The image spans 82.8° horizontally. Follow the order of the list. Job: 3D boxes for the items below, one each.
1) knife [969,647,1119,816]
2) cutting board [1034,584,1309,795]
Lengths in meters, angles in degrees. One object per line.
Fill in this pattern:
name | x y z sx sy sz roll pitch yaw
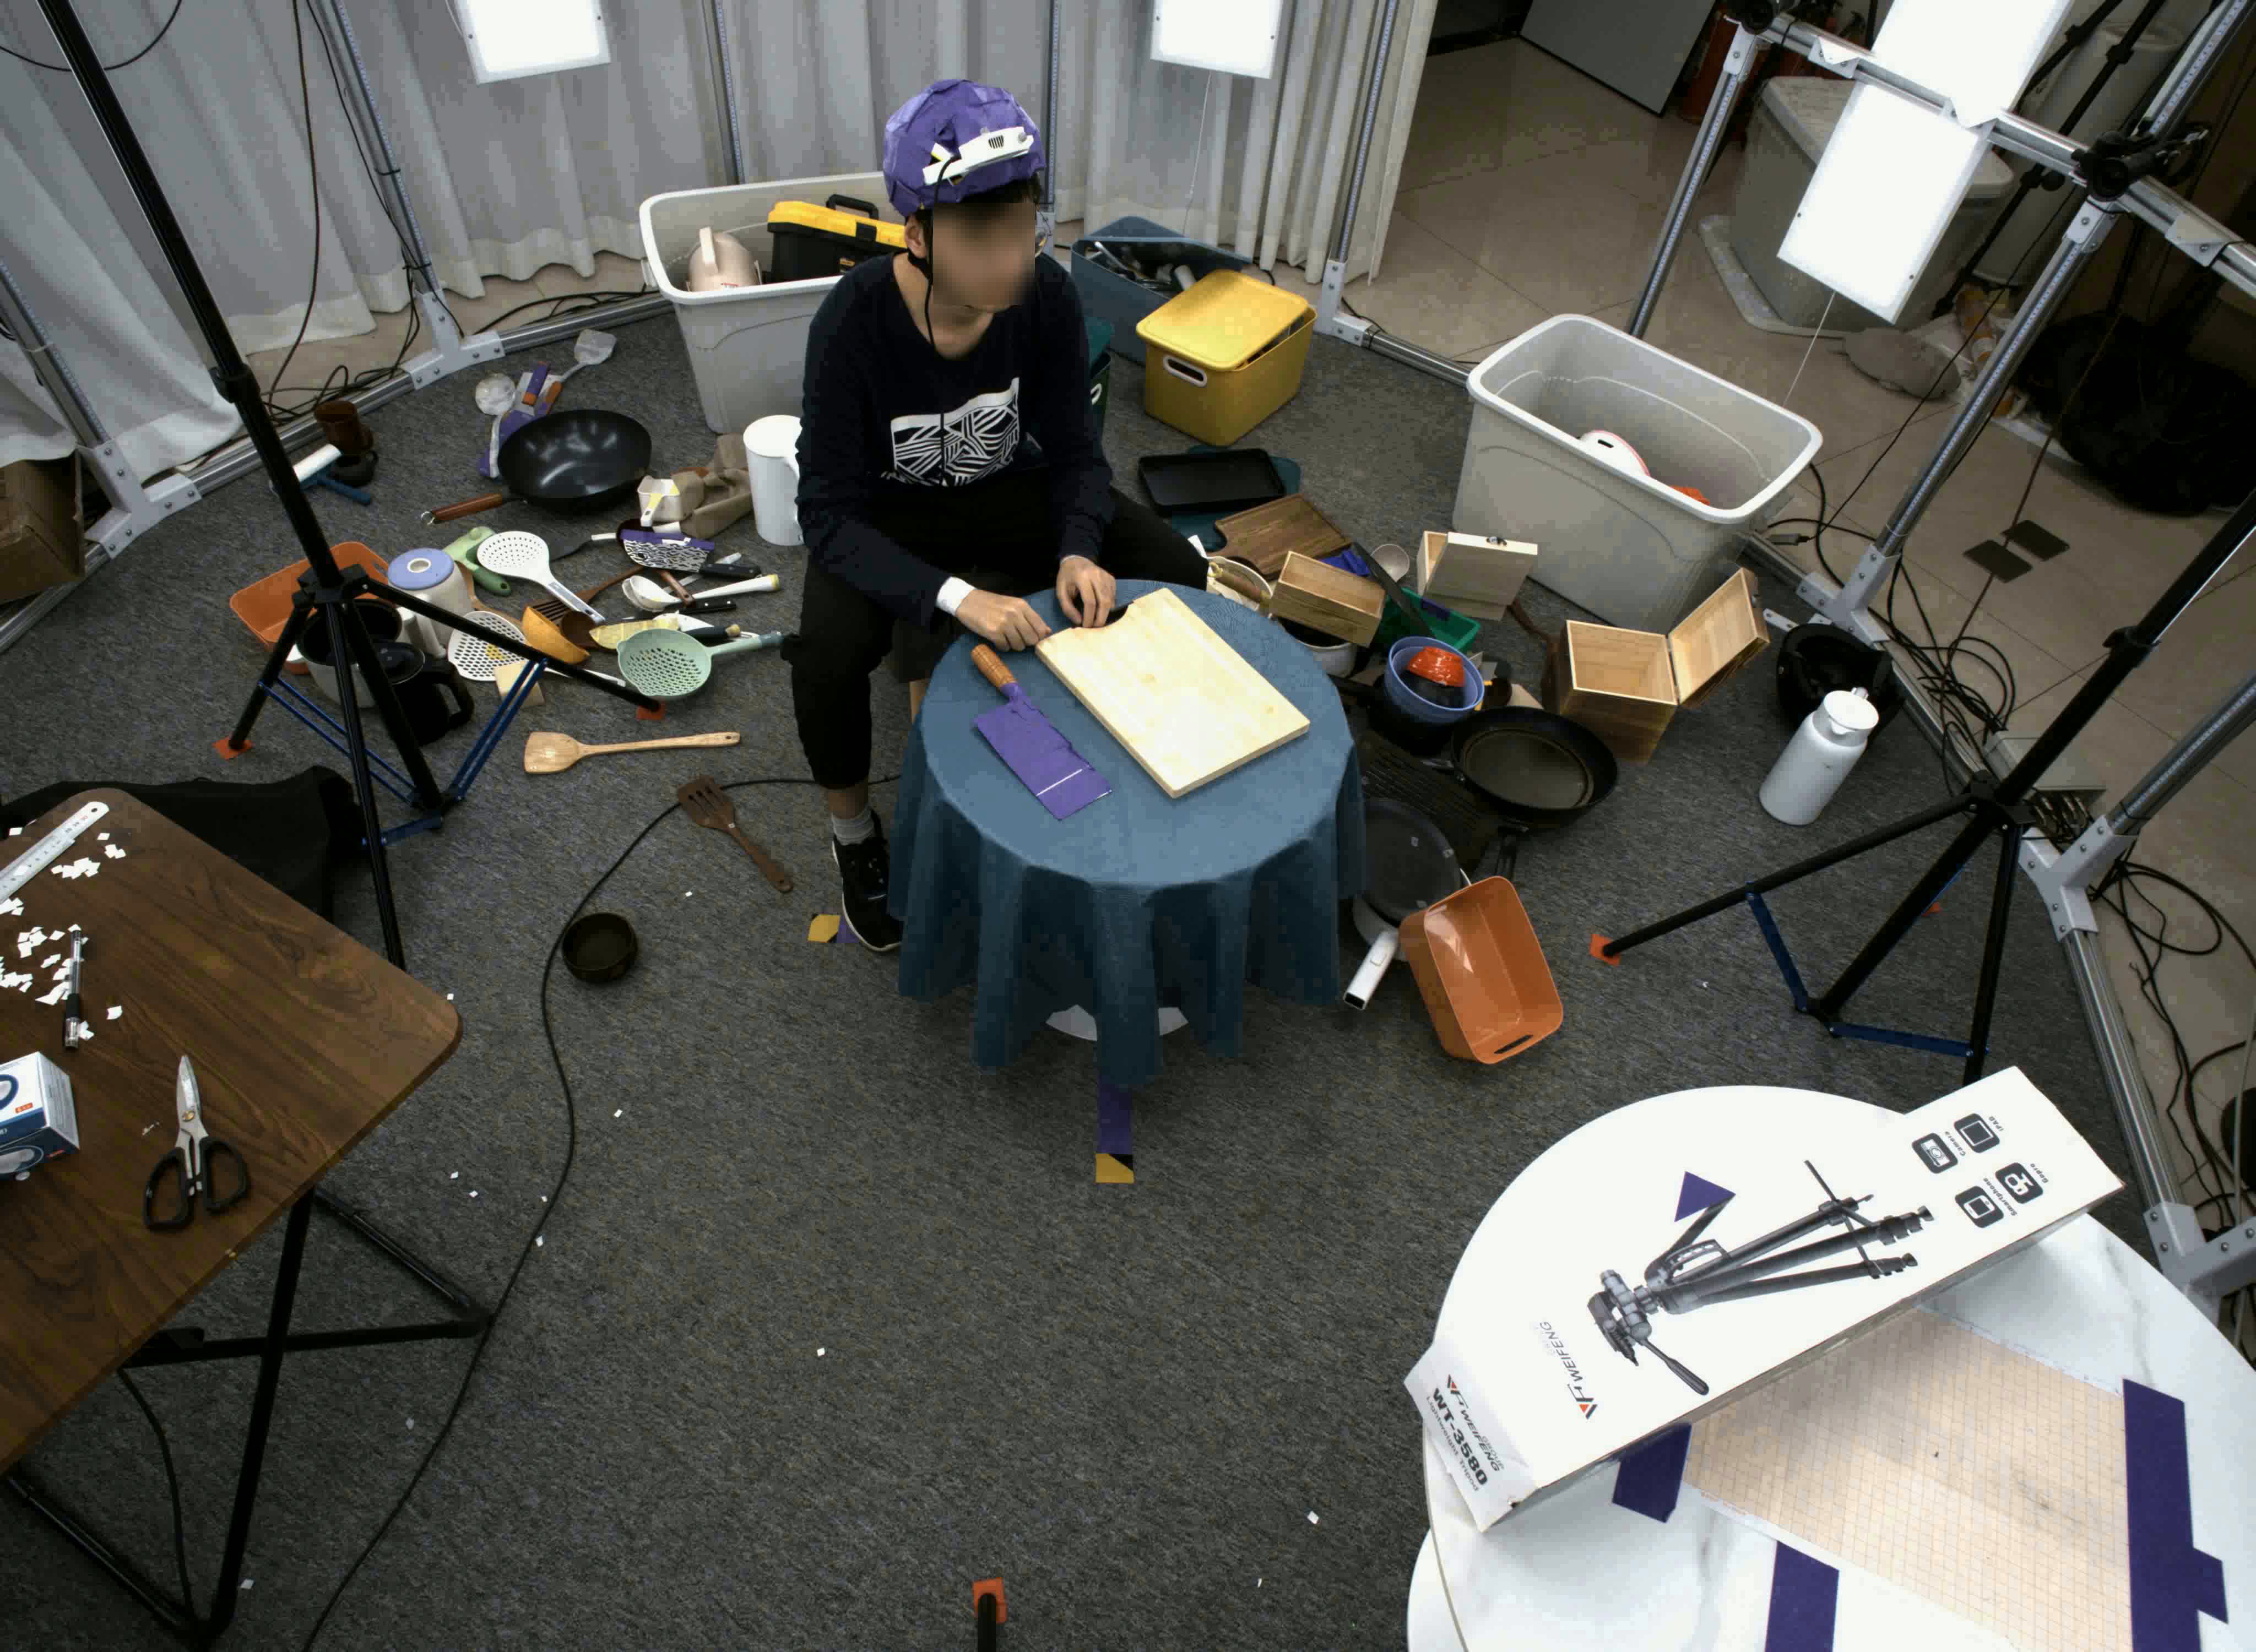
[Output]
knife | -0.145 -0.133 1.756 0.104 0.031 0.321 -28 57 -25
cutting board | 0.057 -0.204 1.837 0.252 0.023 0.355 -27 56 -24
